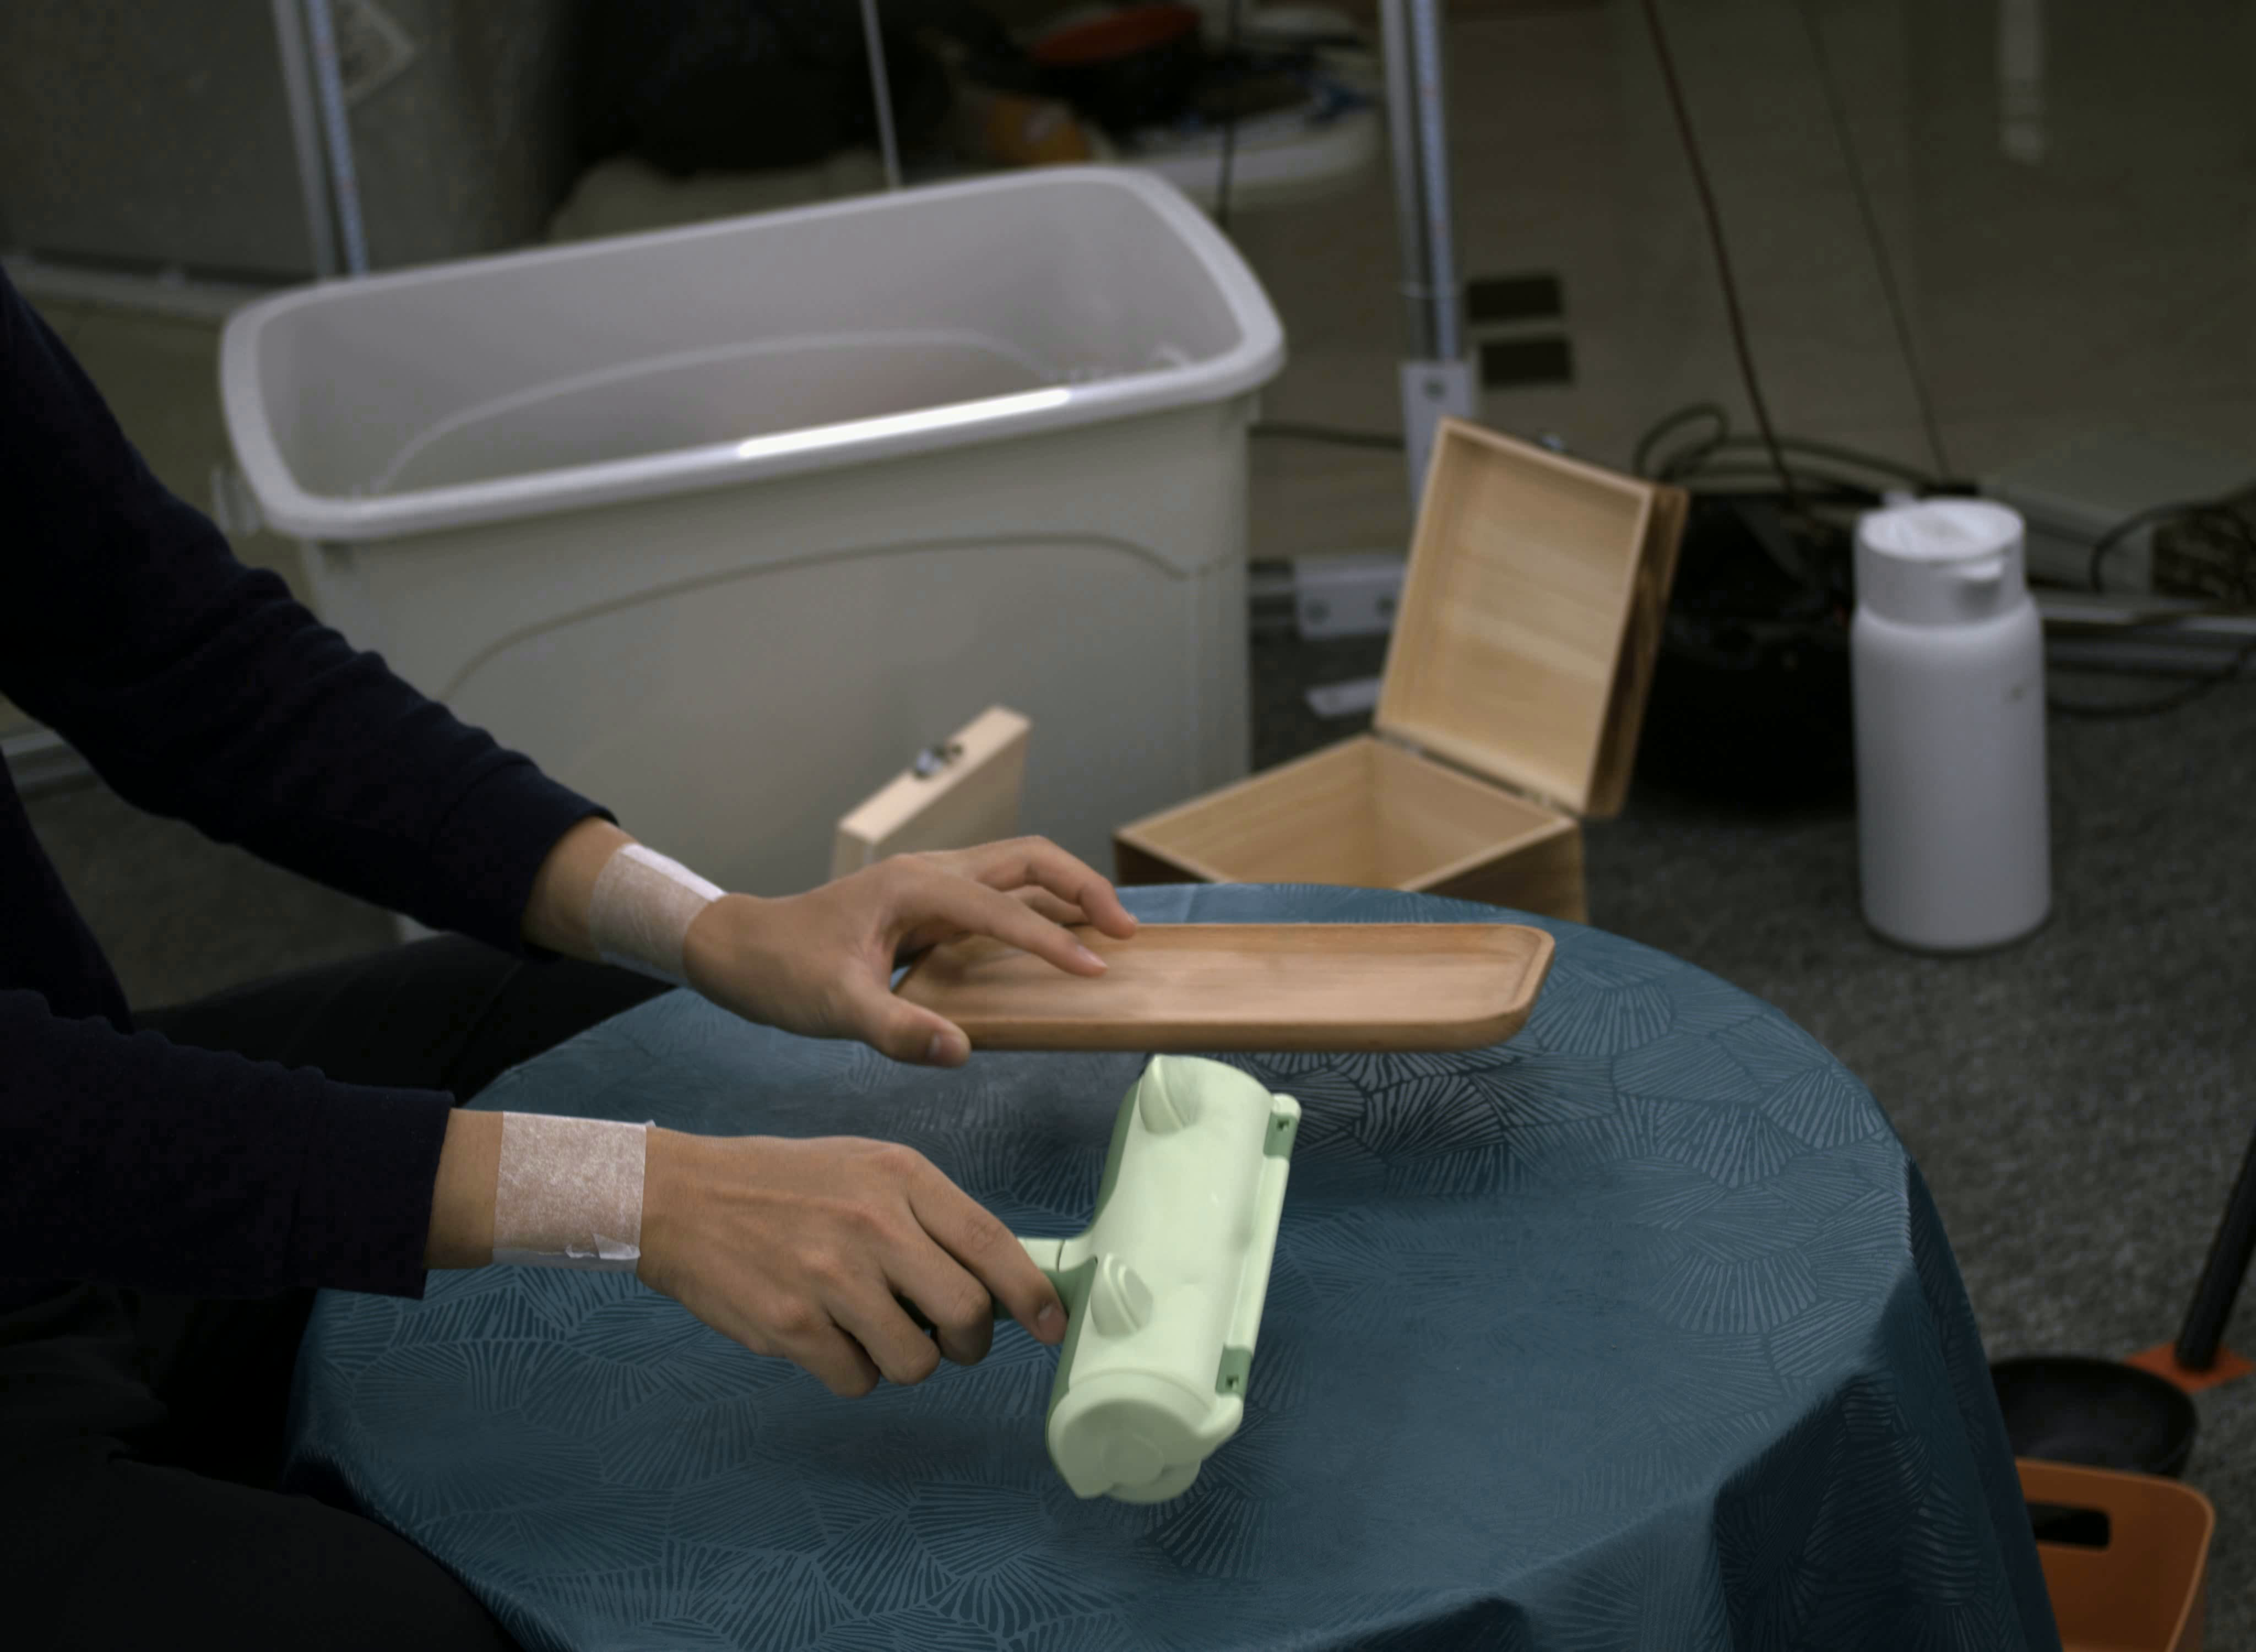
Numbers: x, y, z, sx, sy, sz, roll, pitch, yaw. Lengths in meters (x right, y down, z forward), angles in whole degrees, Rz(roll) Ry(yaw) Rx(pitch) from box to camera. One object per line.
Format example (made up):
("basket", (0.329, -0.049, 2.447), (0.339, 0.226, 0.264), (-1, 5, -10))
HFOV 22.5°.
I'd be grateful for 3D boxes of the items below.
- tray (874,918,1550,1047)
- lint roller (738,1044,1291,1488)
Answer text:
("tray", (0.033, 0.060, 2.175), (0.250, 0.023, 0.129), (-1, 13, 14))
("lint roller", (-0.043, 0.138, 1.948), (0.183, 0.084, 0.195), (6, 33, 4))
